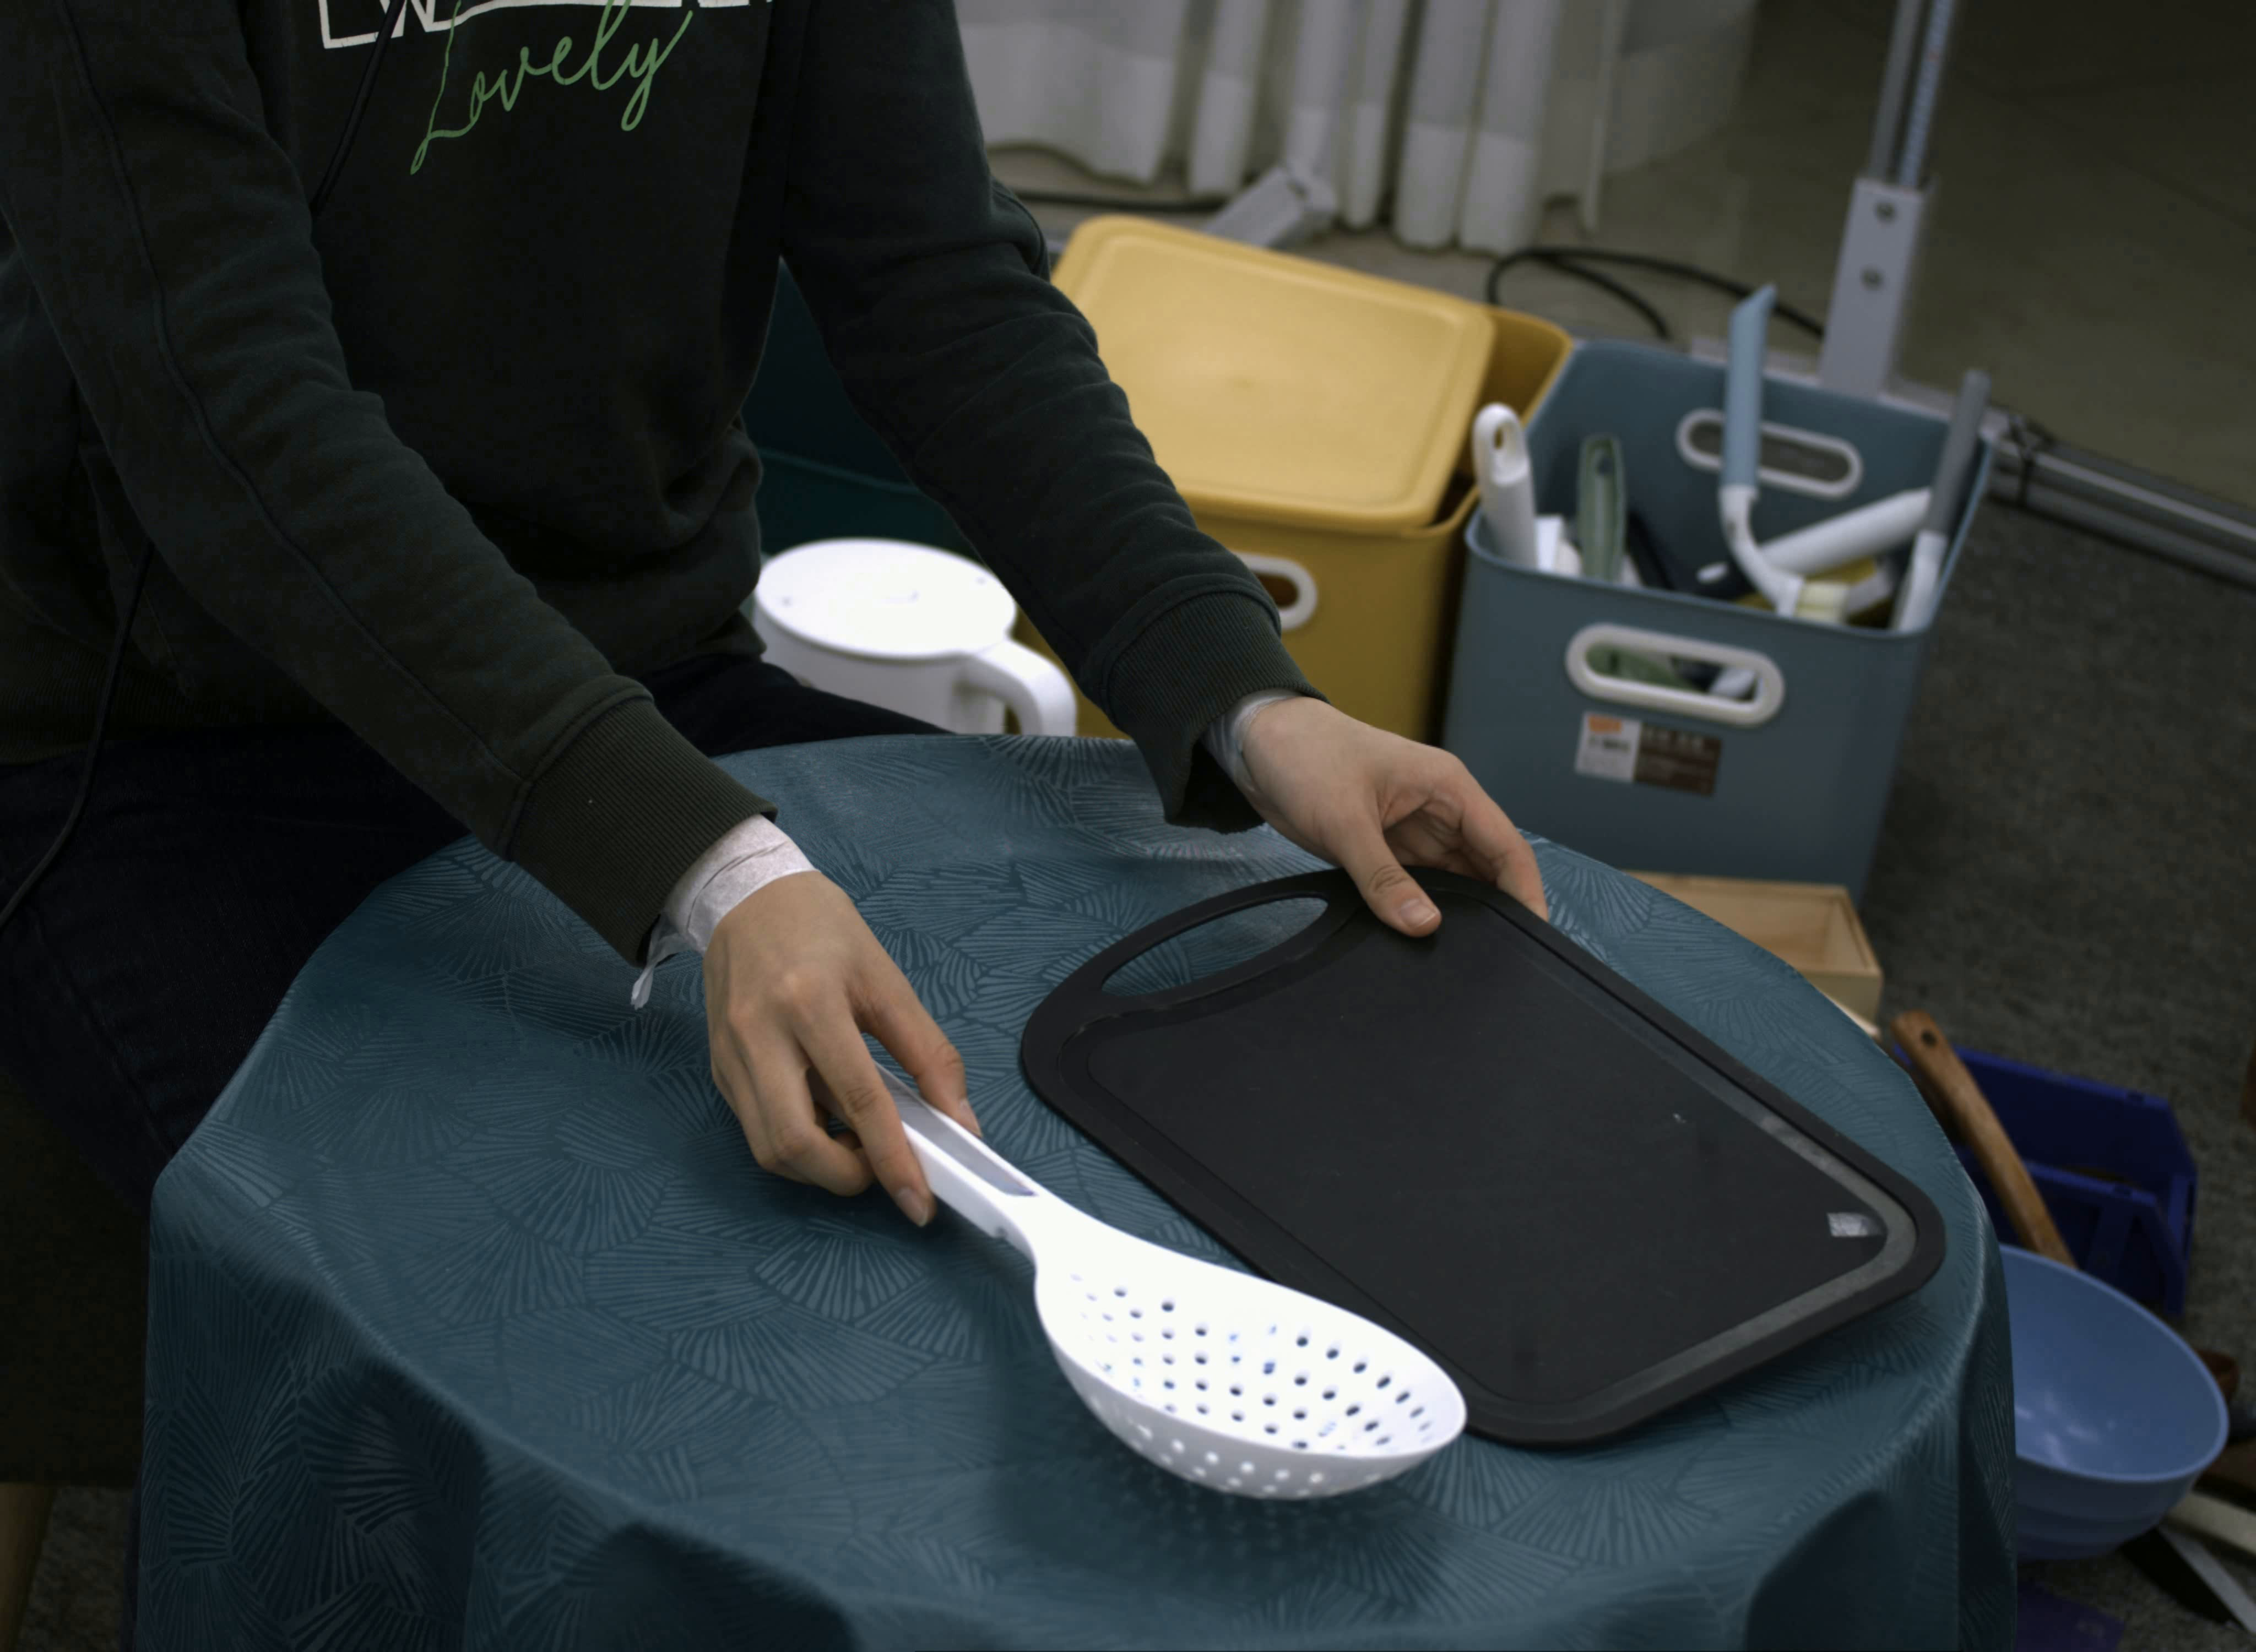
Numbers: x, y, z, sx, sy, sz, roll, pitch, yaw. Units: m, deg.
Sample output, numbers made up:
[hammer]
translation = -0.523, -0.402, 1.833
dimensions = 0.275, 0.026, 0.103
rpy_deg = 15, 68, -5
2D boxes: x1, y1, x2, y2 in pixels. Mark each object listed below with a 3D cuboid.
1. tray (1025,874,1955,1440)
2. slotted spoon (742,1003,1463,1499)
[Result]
[tray]
translation = 0.114, 0.103, 1.828
dimensions = 0.210, 0.010, 0.328
rpy_deg = -21, 37, -29
[slotted spoon]
translation = -0.026, 0.131, 1.720
dimensions = 0.135, 0.045, 0.353
rpy_deg = 3, 24, -38
